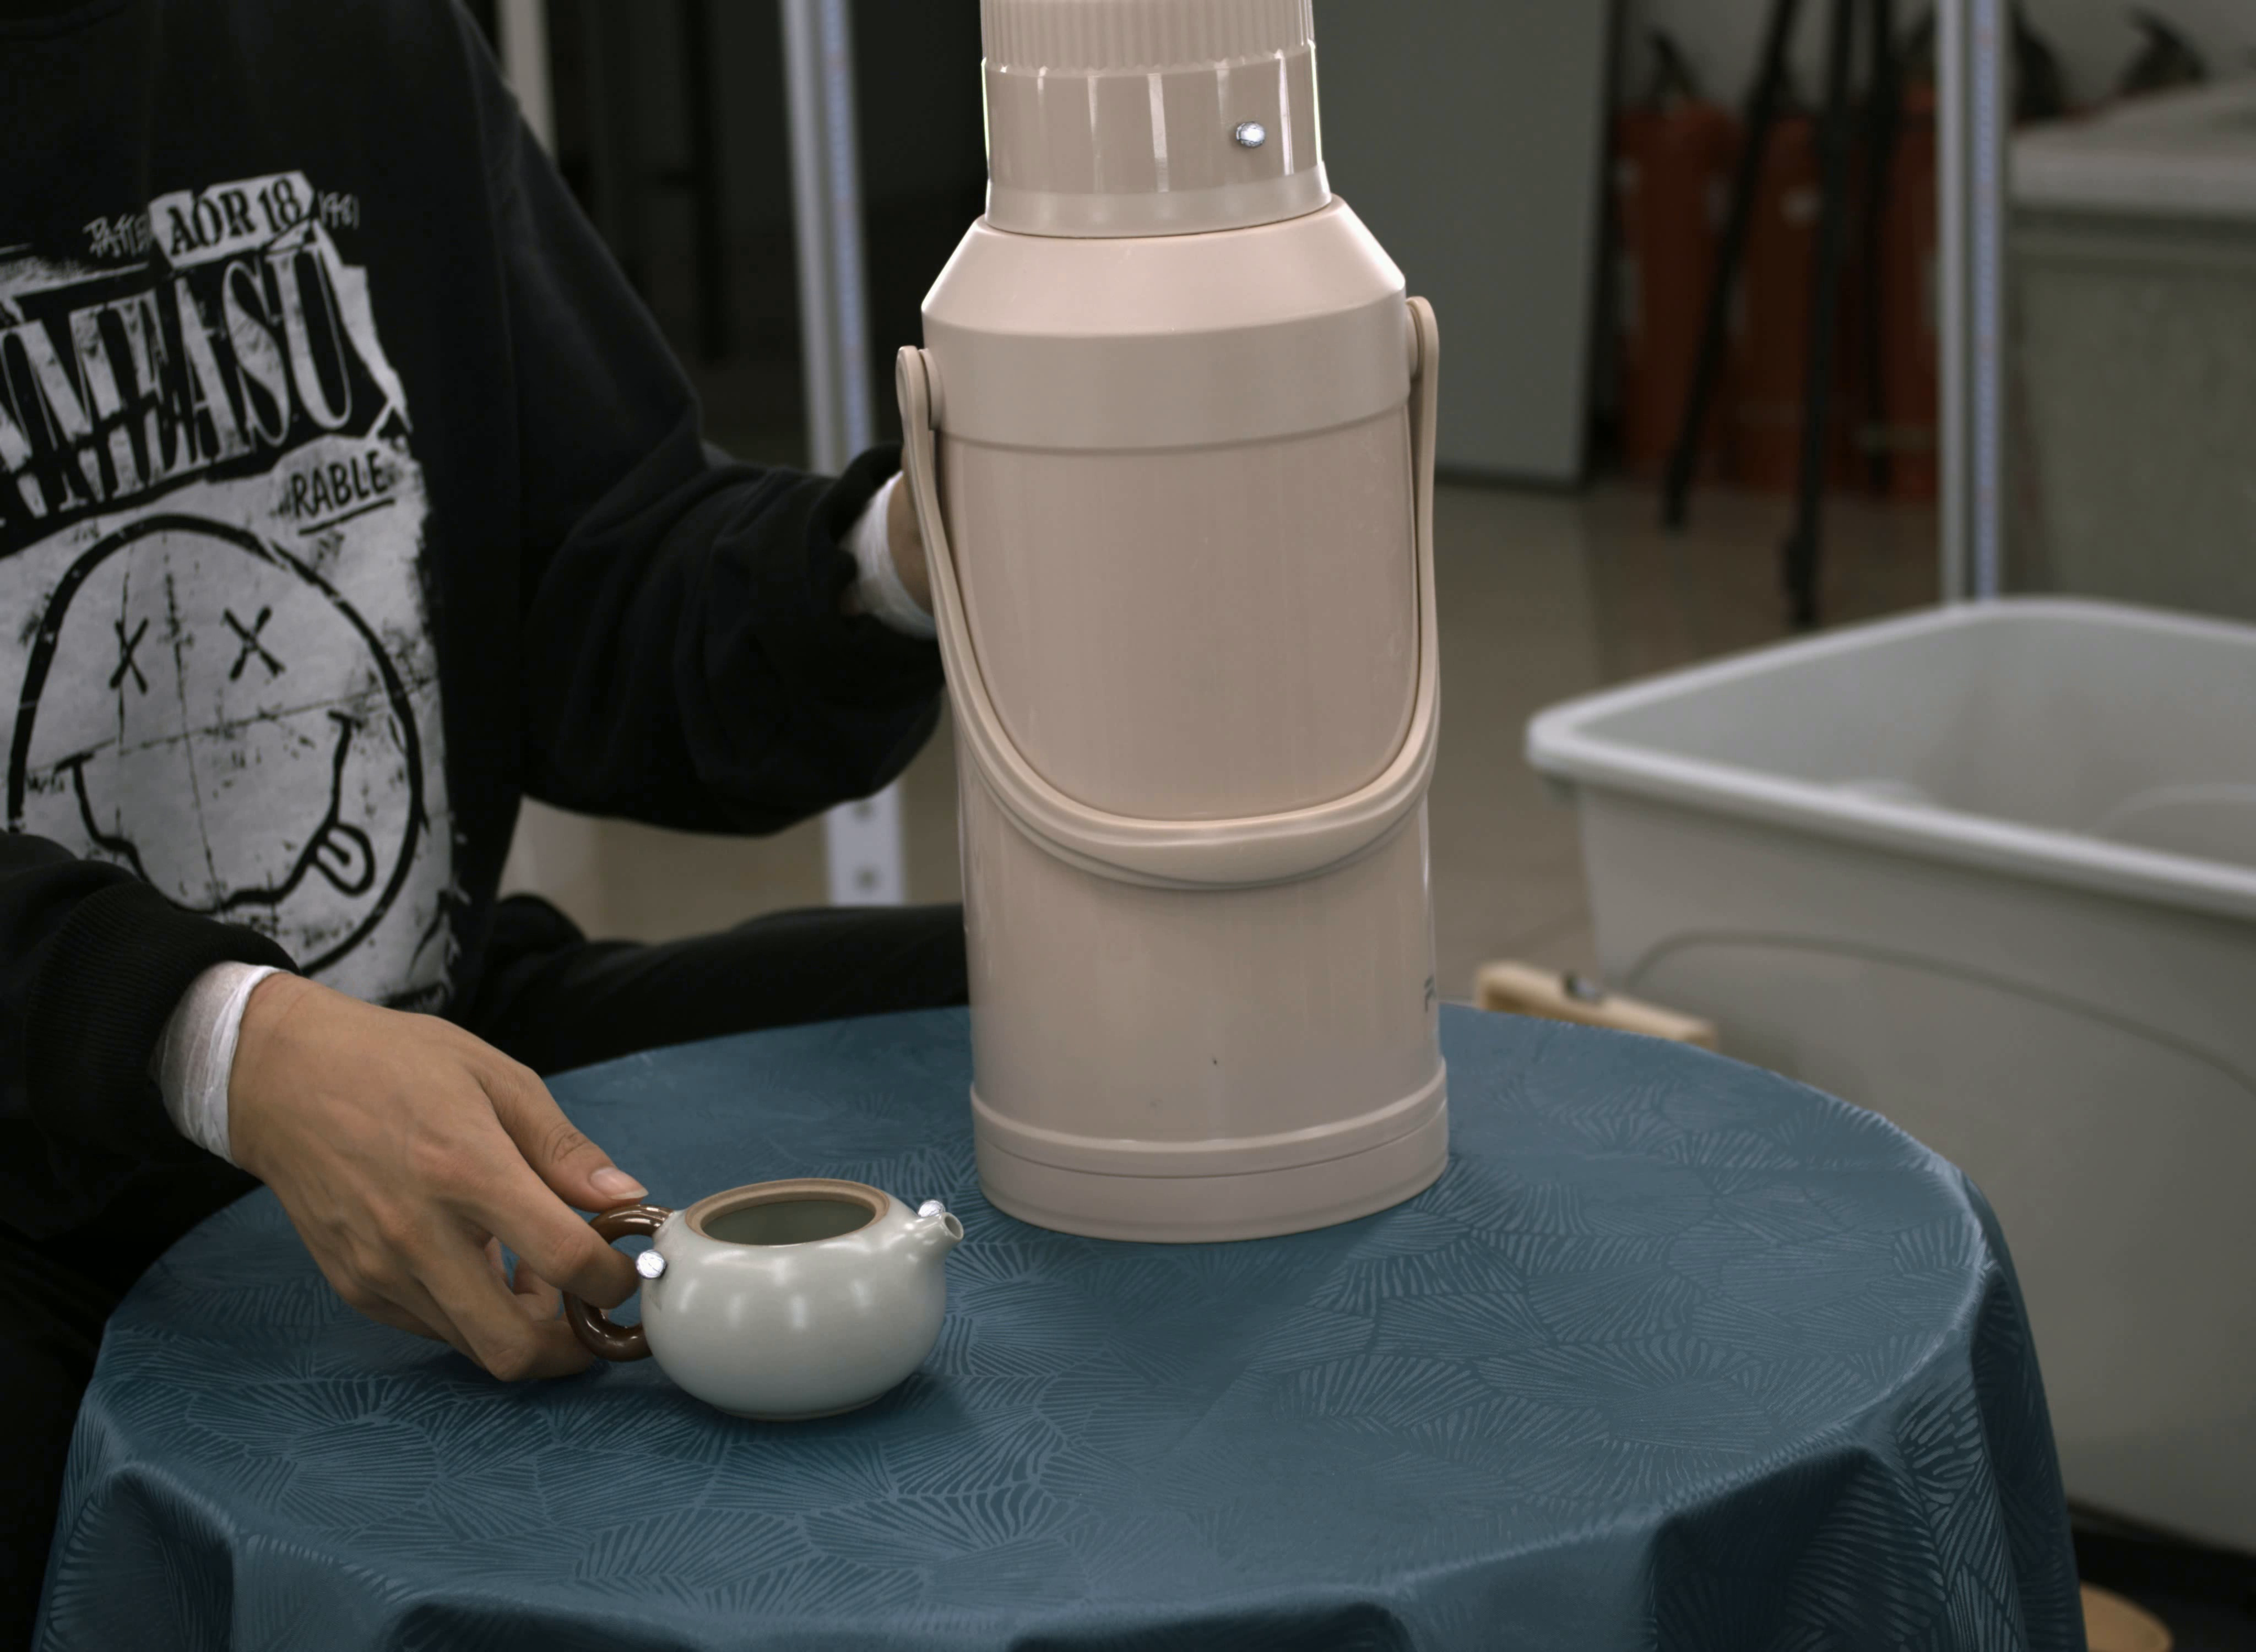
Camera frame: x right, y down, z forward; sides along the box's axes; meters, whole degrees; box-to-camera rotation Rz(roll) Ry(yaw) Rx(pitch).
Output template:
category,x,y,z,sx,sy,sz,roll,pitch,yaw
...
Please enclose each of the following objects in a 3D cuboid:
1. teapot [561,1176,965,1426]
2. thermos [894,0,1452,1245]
category,x,y,z,sx,sy,sz,roll,pitch,yaw
teapot,-0.108,0.141,1.607,0.127,0.060,0.091,1,18,14
thermos,0.015,-0.083,1.762,0.172,0.410,0.208,-8,15,-12
